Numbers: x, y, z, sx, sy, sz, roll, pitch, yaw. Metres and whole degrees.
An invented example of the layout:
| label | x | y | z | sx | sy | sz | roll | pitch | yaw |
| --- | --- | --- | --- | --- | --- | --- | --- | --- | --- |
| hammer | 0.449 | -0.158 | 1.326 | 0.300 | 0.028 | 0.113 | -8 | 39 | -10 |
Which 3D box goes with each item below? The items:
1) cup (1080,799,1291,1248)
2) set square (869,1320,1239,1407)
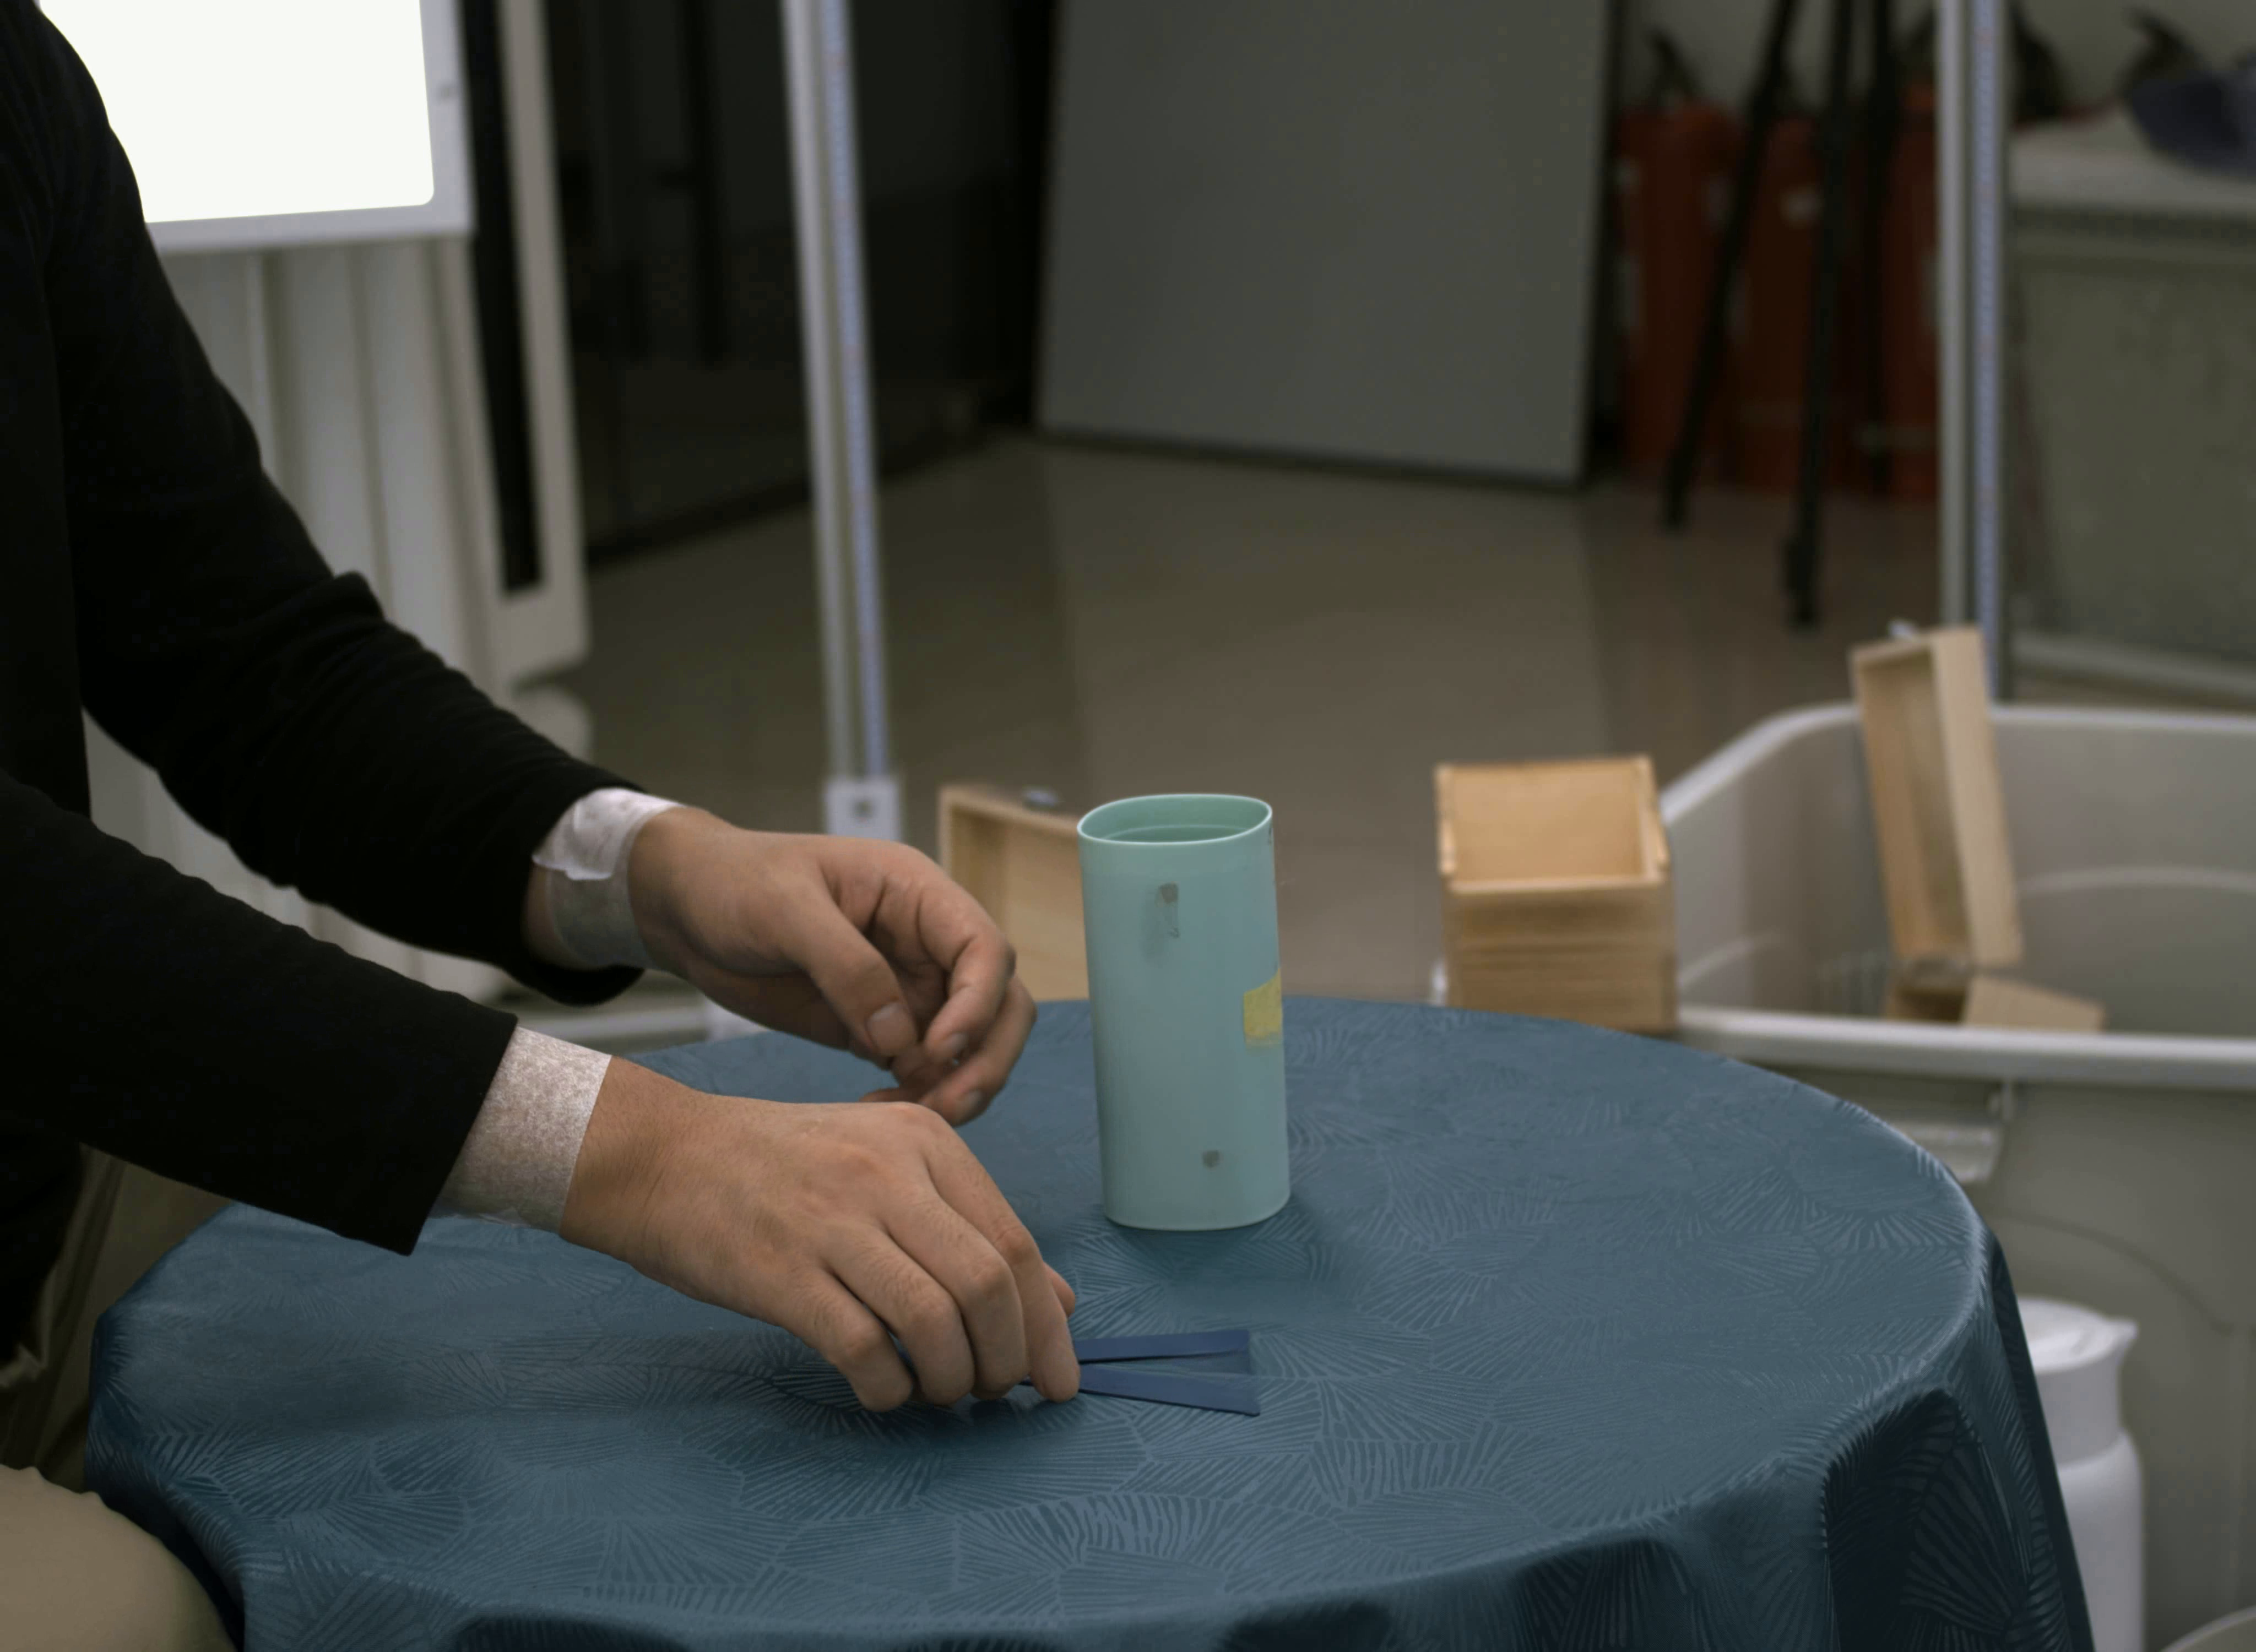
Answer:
| label | x | y | z | sx | sy | sz | roll | pitch | yaw |
| --- | --- | --- | --- | --- | --- | --- | --- | --- | --- |
| cup | 0.018 | 0.063 | 1.740 | 0.066 | 0.134 | 0.067 | -3 | 14 | 0 |
| set square | -0.013 | 0.154 | 1.625 | 0.133 | 0.006 | 0.060 | 5 | 20 | 34 |
